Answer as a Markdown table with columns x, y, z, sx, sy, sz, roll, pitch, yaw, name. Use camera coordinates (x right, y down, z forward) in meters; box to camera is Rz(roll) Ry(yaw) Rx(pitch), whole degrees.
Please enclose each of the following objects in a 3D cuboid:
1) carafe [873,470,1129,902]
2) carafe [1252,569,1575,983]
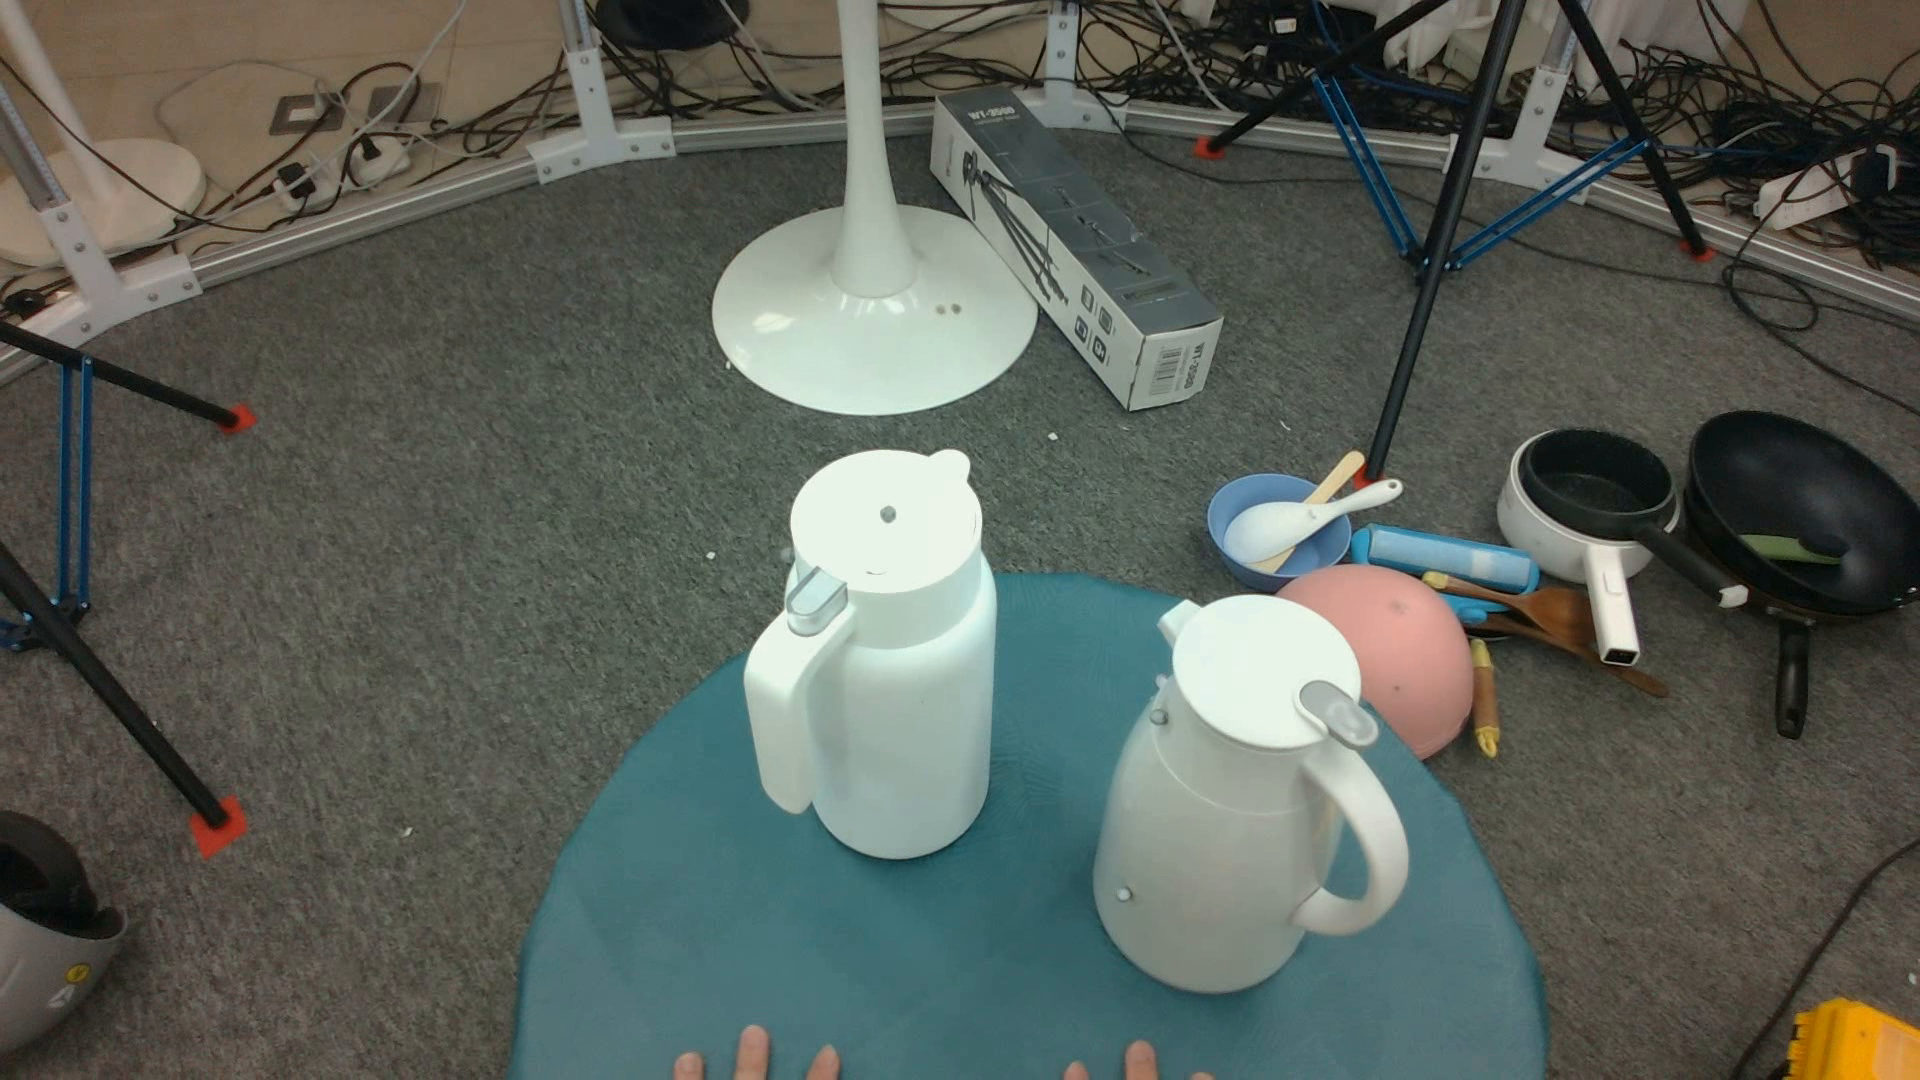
| x | y | z | sx | sy | sz | roll | pitch | yaw | name |
| --- | --- | --- | --- | --- | --- | --- | --- | --- | --- |
| 0.025 | 0.109 | 0.786 | 0.124 | 0.267 | 0.173 | 18 | 54 | 23 | carafe |
| 0.240 | 0.133 | 0.735 | 0.168 | 0.247 | 0.133 | 33 | 61 | 33 | carafe |
